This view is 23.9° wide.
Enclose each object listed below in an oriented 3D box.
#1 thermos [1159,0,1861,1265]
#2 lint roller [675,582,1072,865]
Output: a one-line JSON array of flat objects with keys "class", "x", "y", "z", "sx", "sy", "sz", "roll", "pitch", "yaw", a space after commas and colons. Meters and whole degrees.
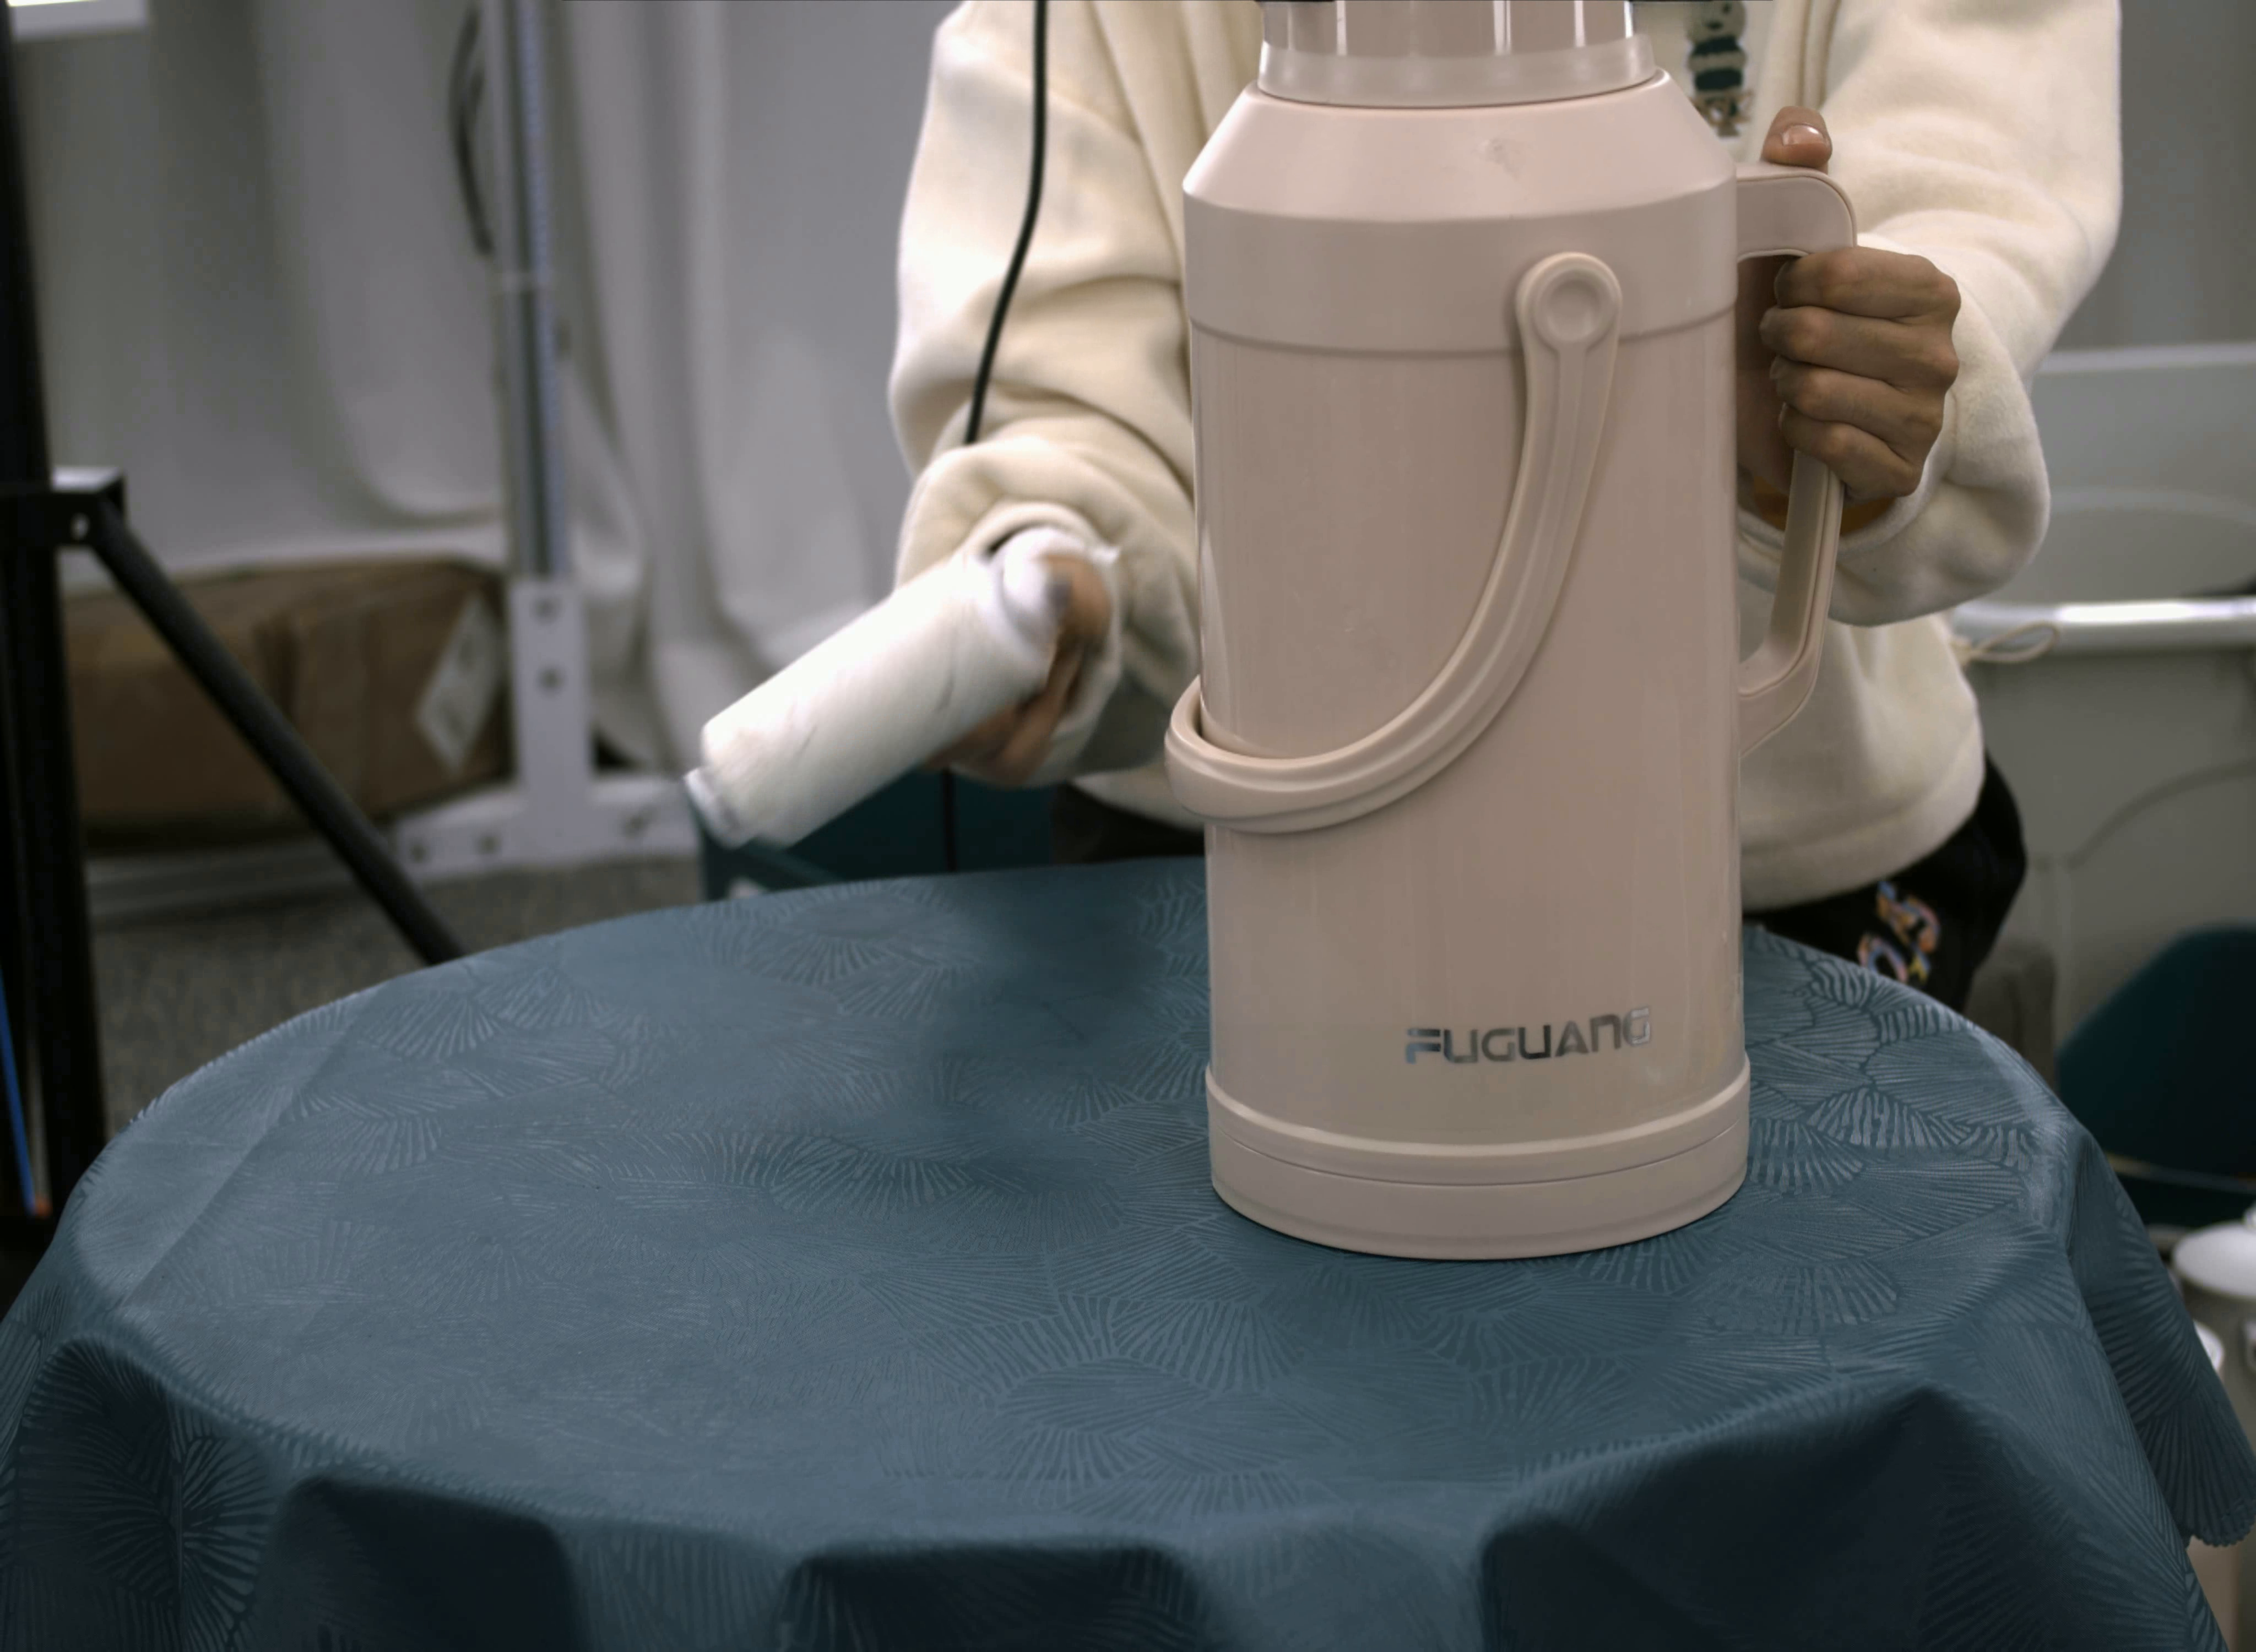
[{"class": "thermos", "x": 0.110, "y": -0.090, "z": 1.514, "sx": 0.204, "sy": 0.406, "sz": 0.178, "roll": -6, "pitch": 15, "yaw": -15}, {"class": "lint roller", "x": -0.064, "y": -0.047, "z": 1.687, "sx": 0.134, "sy": 0.050, "sz": 0.179, "roll": -30, "pitch": 7, "yaw": 19}]
